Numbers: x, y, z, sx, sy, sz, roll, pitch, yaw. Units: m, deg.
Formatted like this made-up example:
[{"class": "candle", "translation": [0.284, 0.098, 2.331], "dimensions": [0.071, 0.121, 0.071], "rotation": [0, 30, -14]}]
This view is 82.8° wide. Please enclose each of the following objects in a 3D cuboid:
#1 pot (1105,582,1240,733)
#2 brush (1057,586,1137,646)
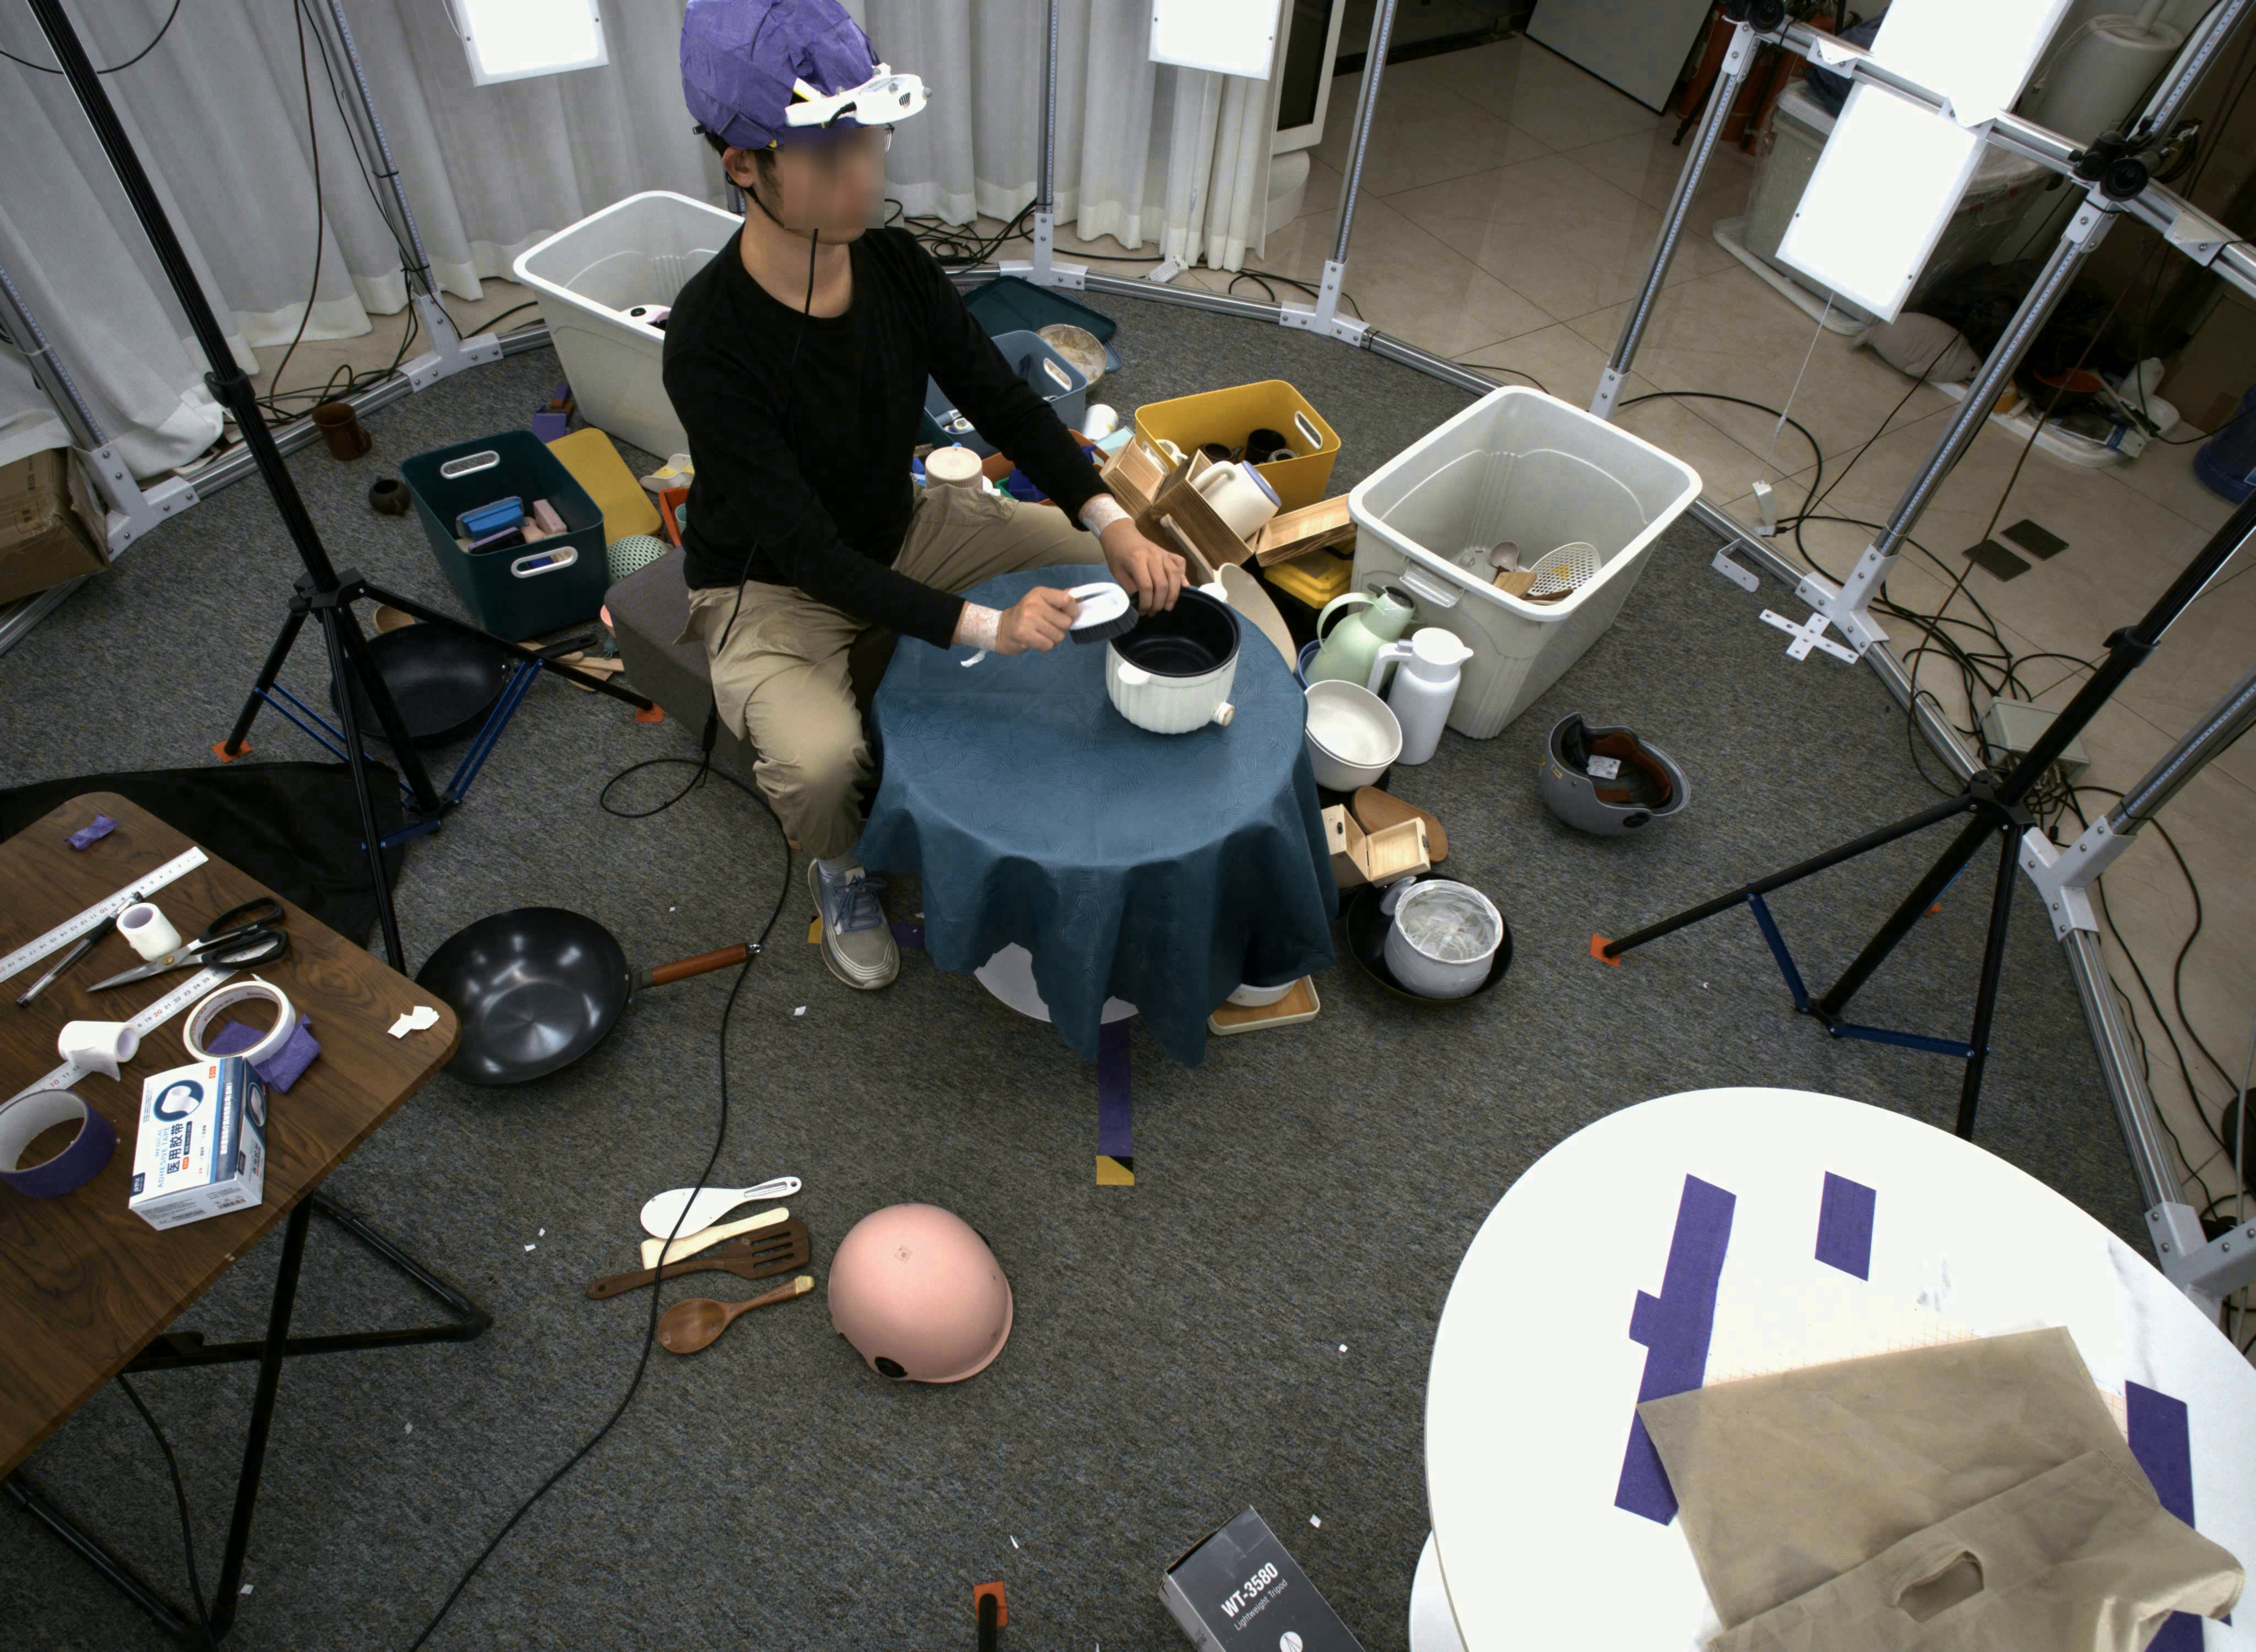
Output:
[{"class": "pot", "translation": [0.063, -0.222, 1.778], "dimensions": [0.192, 0.139, 0.244], "rotation": [26, 54, 21]}, {"class": "brush", "translation": [-0.047, -0.283, 1.695], "dimensions": [0.099, 0.071, 0.051], "rotation": [-8, 49, 30]}]
